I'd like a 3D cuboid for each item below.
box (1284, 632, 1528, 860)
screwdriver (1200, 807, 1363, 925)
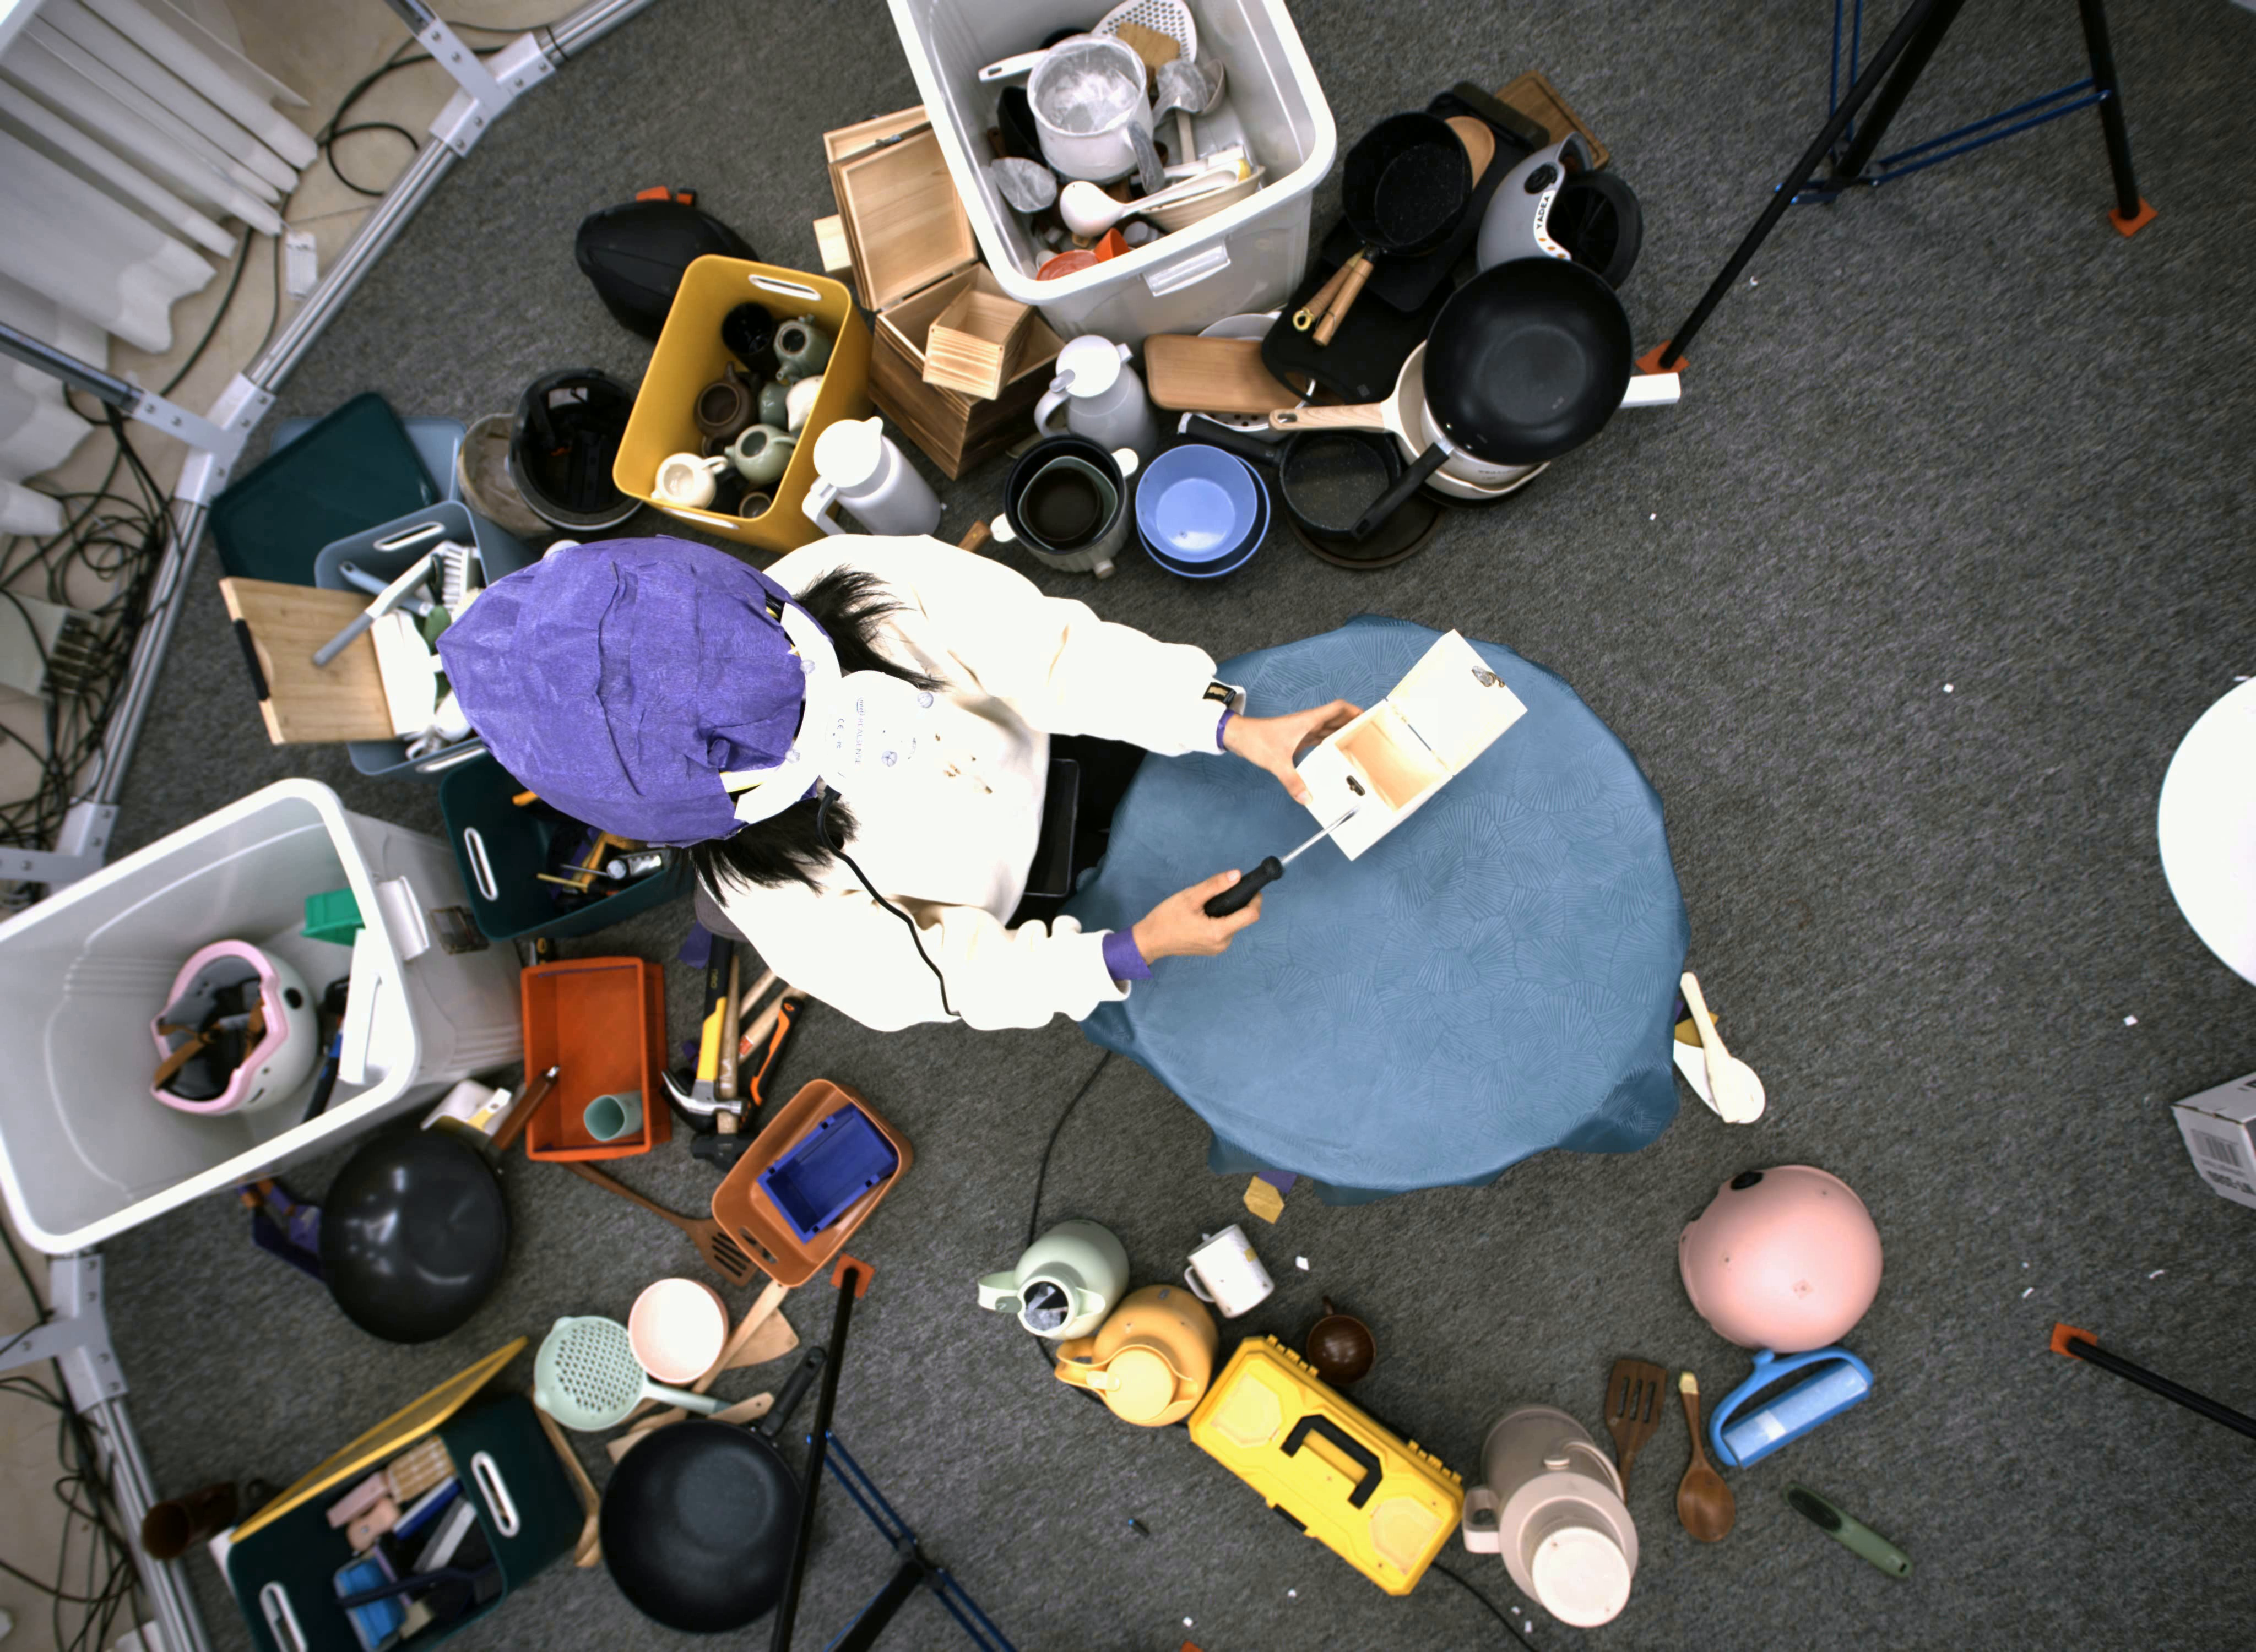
[{"bbox_3d":[0.256,-0.074,1.285,0.131,0.189,0.102,-32,79,-37],"label":"box"},{"bbox_3d":[0.147,0.038,1.321,0.201,0.031,0.031,-35,80,26],"label":"screwdriver"}]
